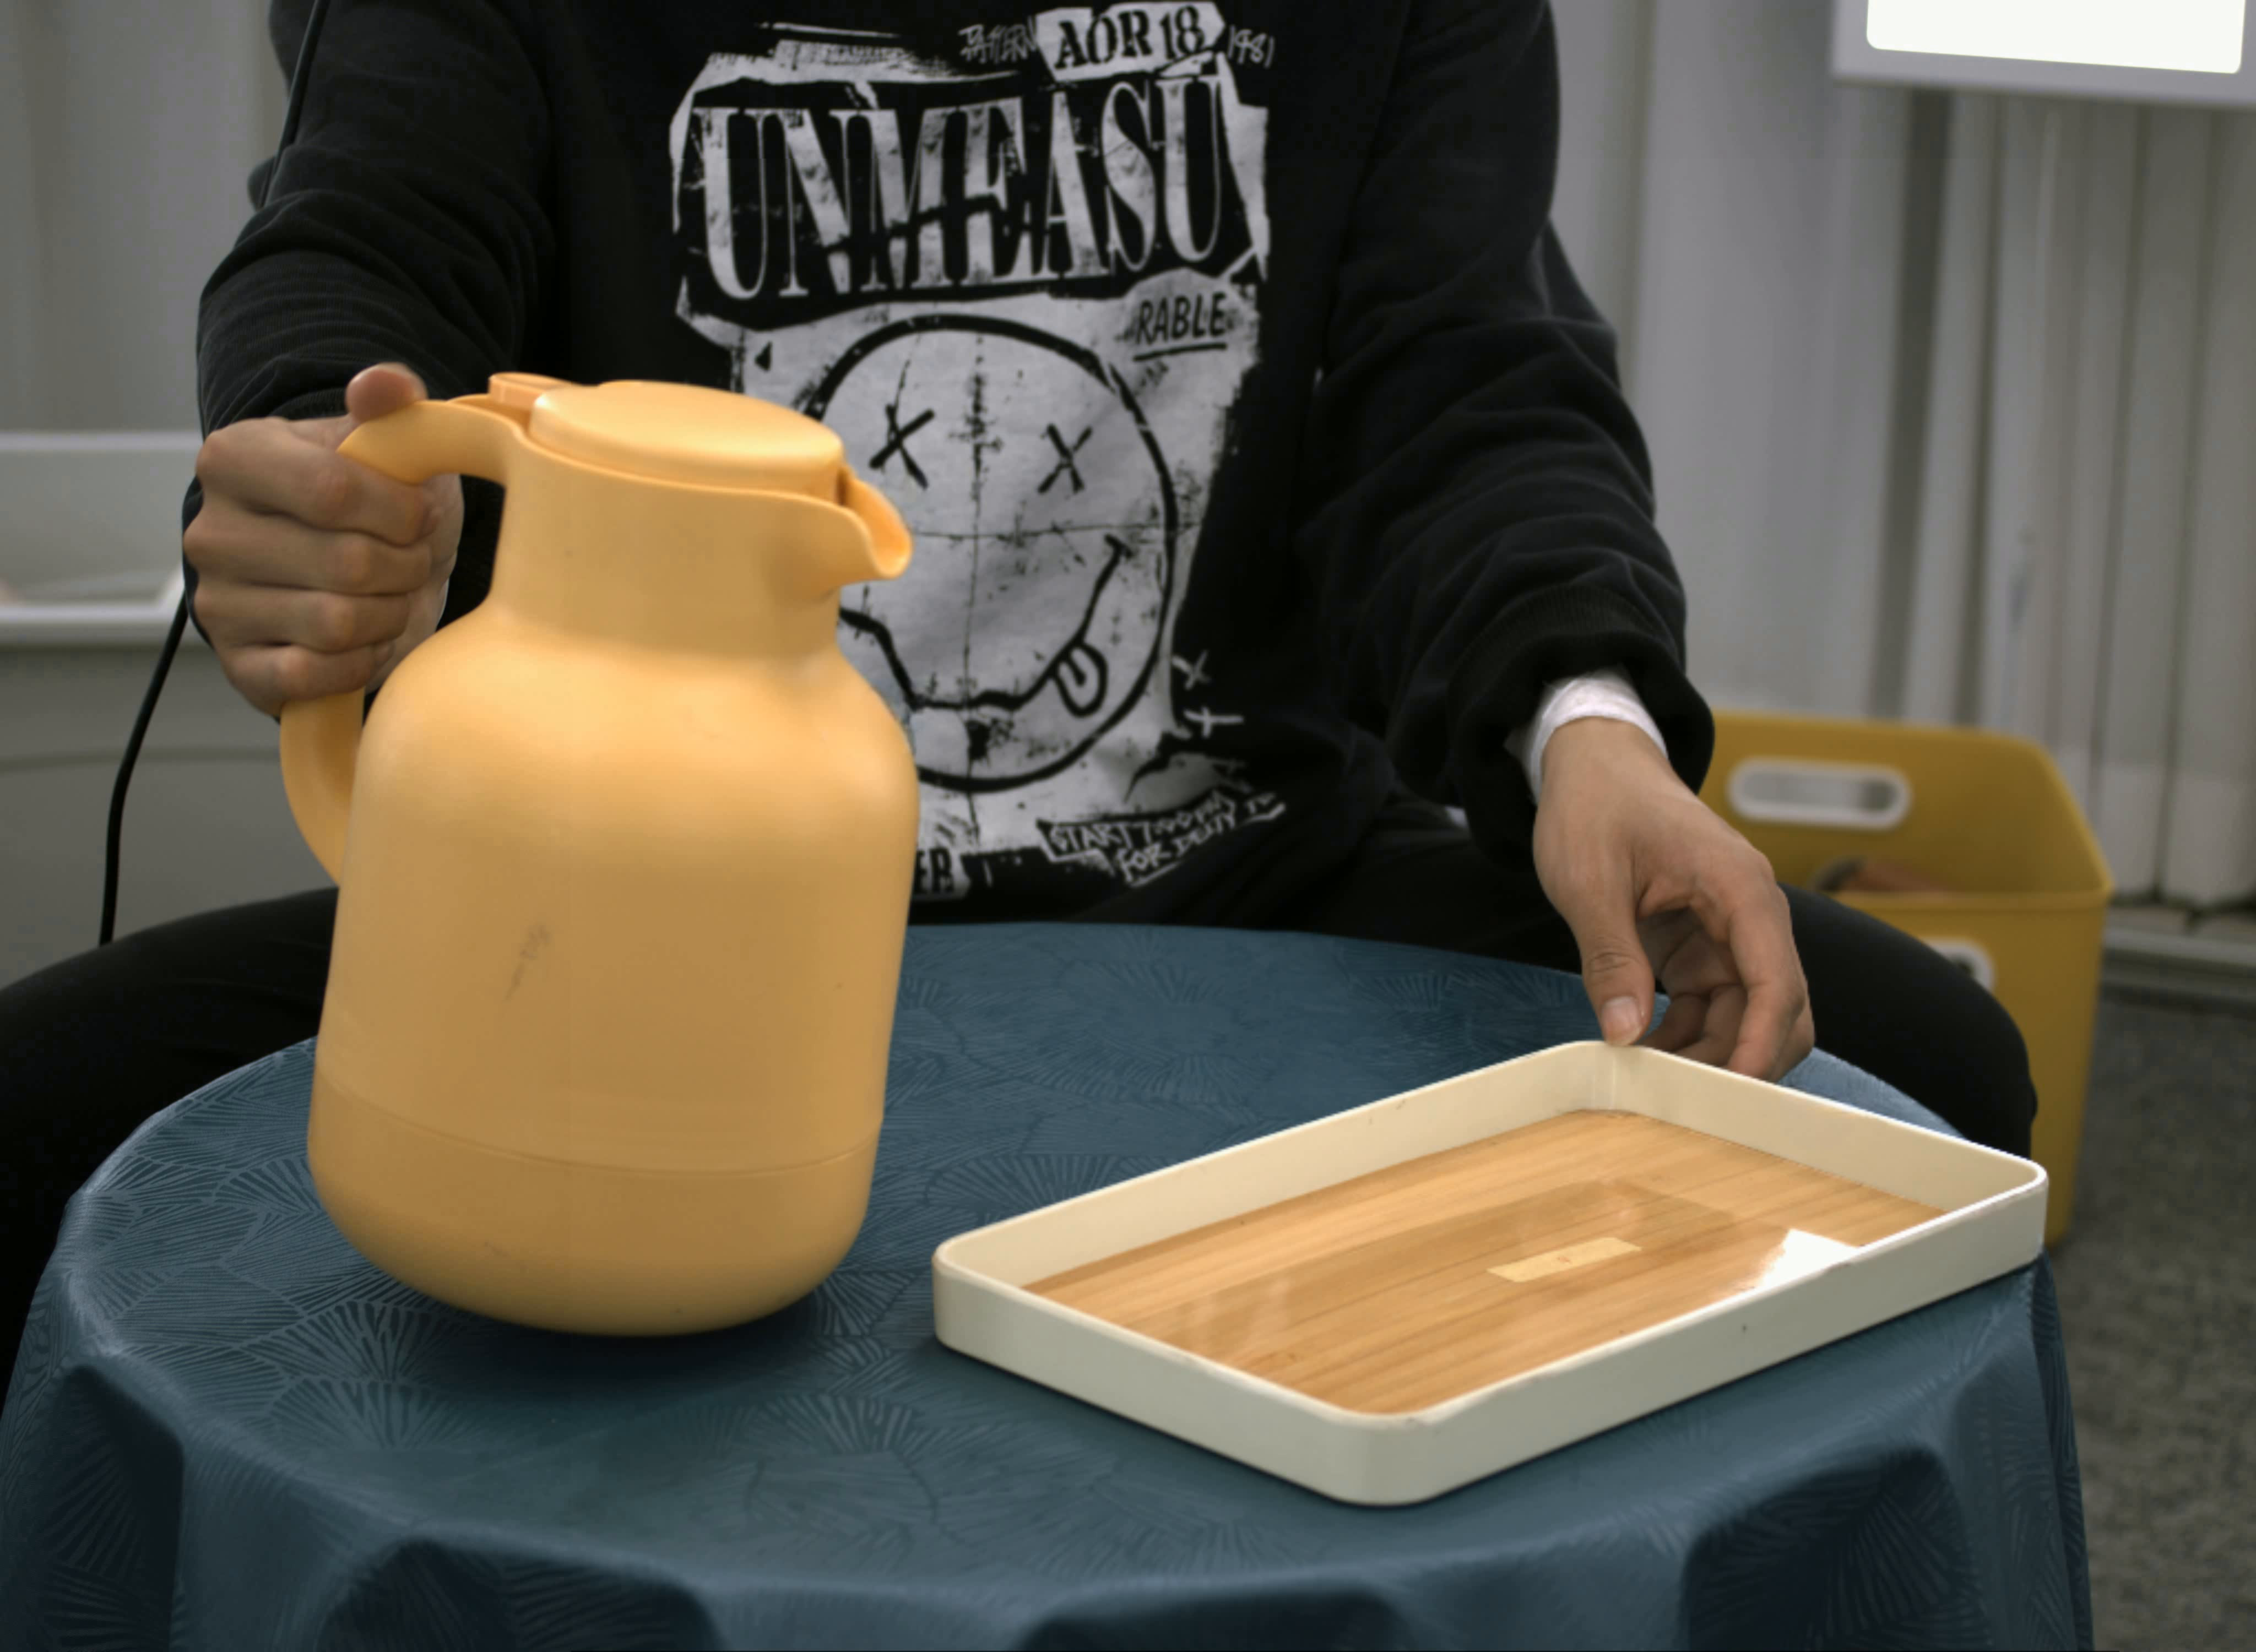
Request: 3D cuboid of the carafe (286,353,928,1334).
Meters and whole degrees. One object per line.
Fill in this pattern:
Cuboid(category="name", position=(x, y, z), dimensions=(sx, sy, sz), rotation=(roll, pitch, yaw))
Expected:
Cuboid(category="carafe", position=(-0.155, -0.003, 1.495), dimensions=(0.200, 0.262, 0.164), rotation=(19, 15, 28))

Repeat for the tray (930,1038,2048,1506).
Cuboid(category="tray", position=(0.109, 0.124, 1.534), dimensions=(0.302, 0.027, 0.189), rotation=(-14, 21, -42))
